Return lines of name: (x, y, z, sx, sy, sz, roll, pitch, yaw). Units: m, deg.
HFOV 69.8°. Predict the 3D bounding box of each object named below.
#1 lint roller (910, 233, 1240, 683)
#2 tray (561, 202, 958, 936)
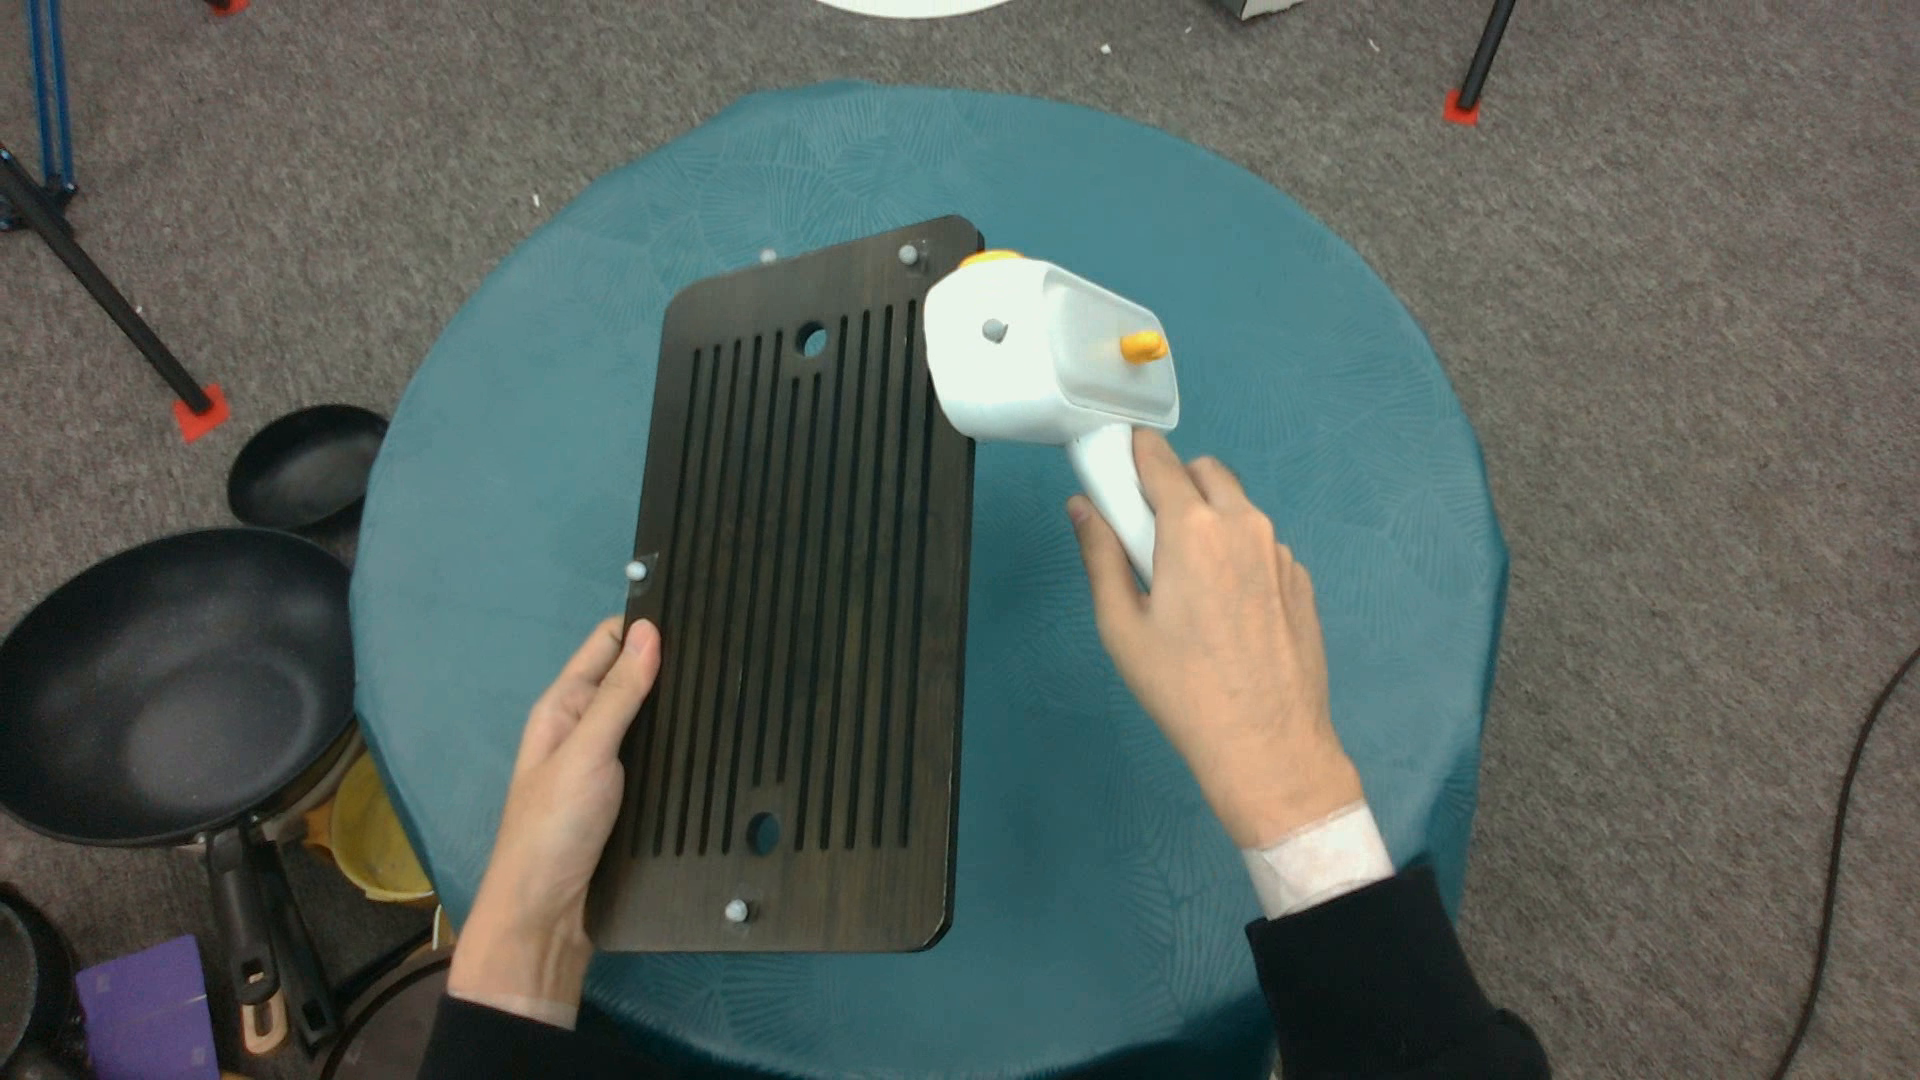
lint roller: (0.058, -0.028, 0.568, 0.074, 0.193, 0.192, -18, 88, 18)
tray: (-0.080, 0.008, 0.579, 0.169, 0.018, 0.307, -8, 68, 26)
